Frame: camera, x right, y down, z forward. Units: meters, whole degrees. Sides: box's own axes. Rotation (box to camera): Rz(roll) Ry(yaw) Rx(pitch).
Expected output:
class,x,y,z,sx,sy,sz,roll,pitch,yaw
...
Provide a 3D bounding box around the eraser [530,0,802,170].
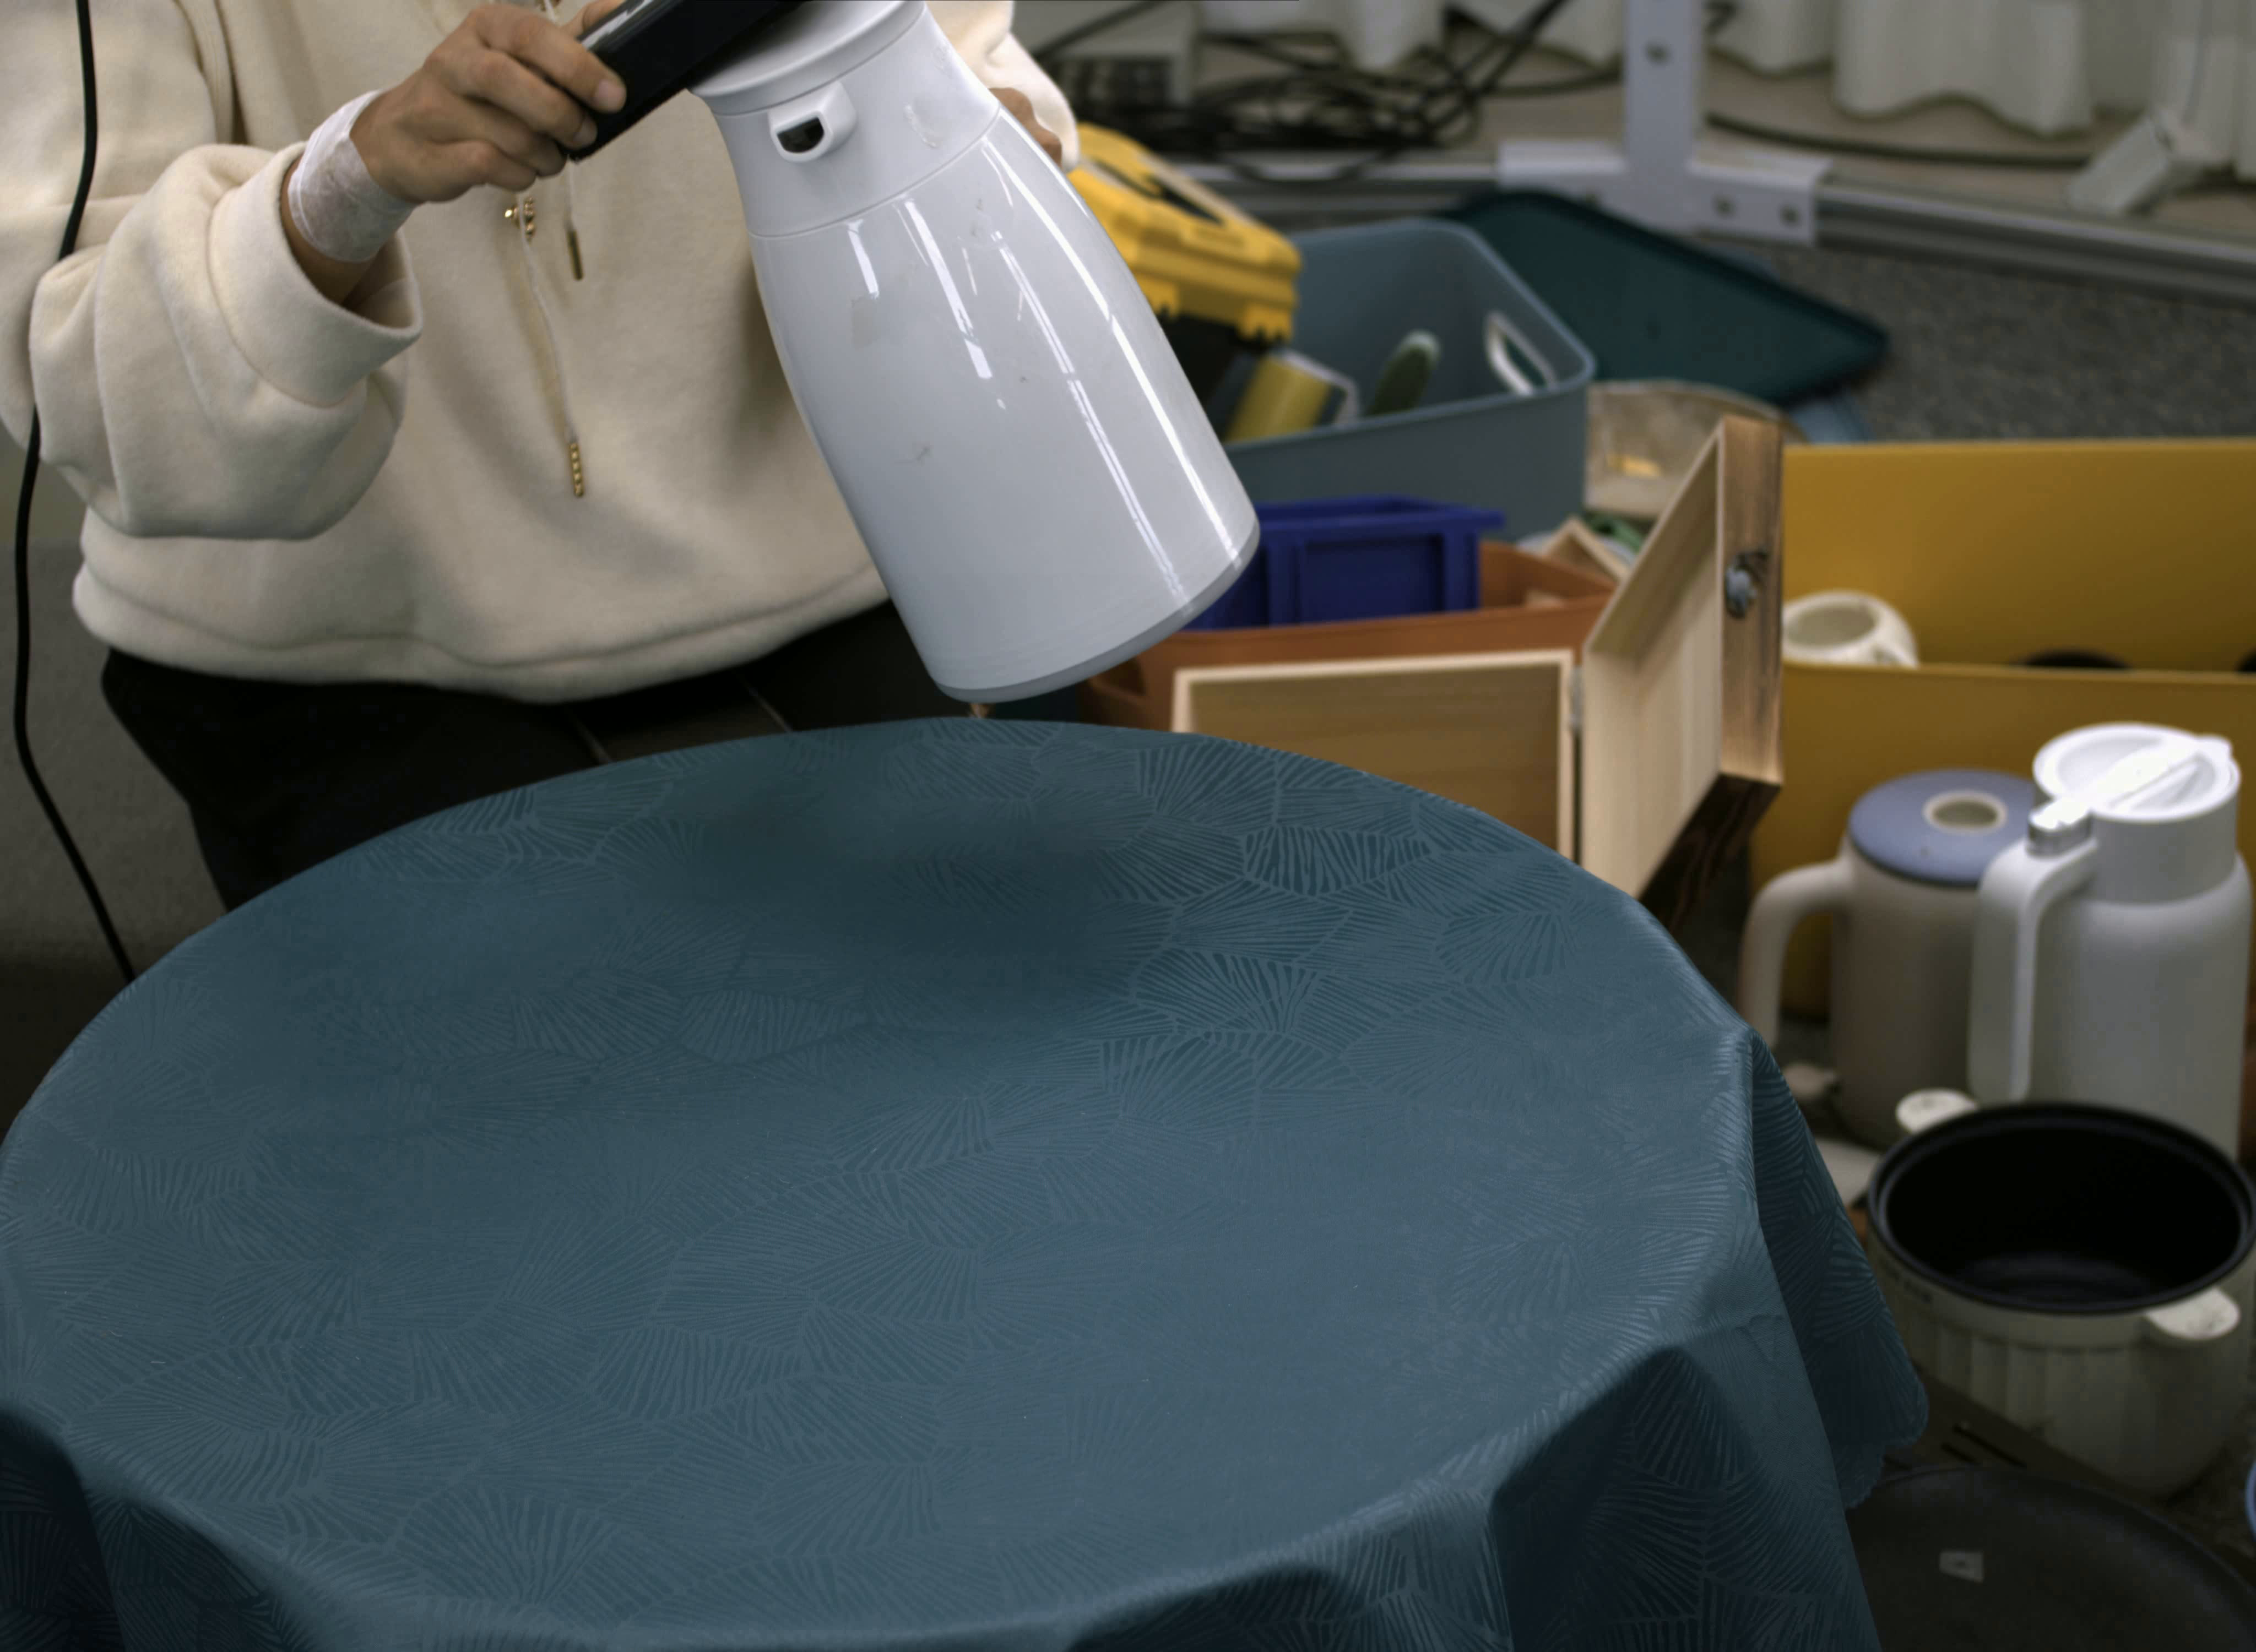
class,x,y,z,sx,sy,sz,roll,pitch,yaw
eraser,-0.152,-0.276,1.952,0.123,0.030,0.054,-31,19,36

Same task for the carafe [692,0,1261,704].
class,x,y,z,sx,sy,sz,roll,pitch,yaw
carafe,-0.062,-0.190,2.011,0.131,0.247,0.170,-22,22,13
